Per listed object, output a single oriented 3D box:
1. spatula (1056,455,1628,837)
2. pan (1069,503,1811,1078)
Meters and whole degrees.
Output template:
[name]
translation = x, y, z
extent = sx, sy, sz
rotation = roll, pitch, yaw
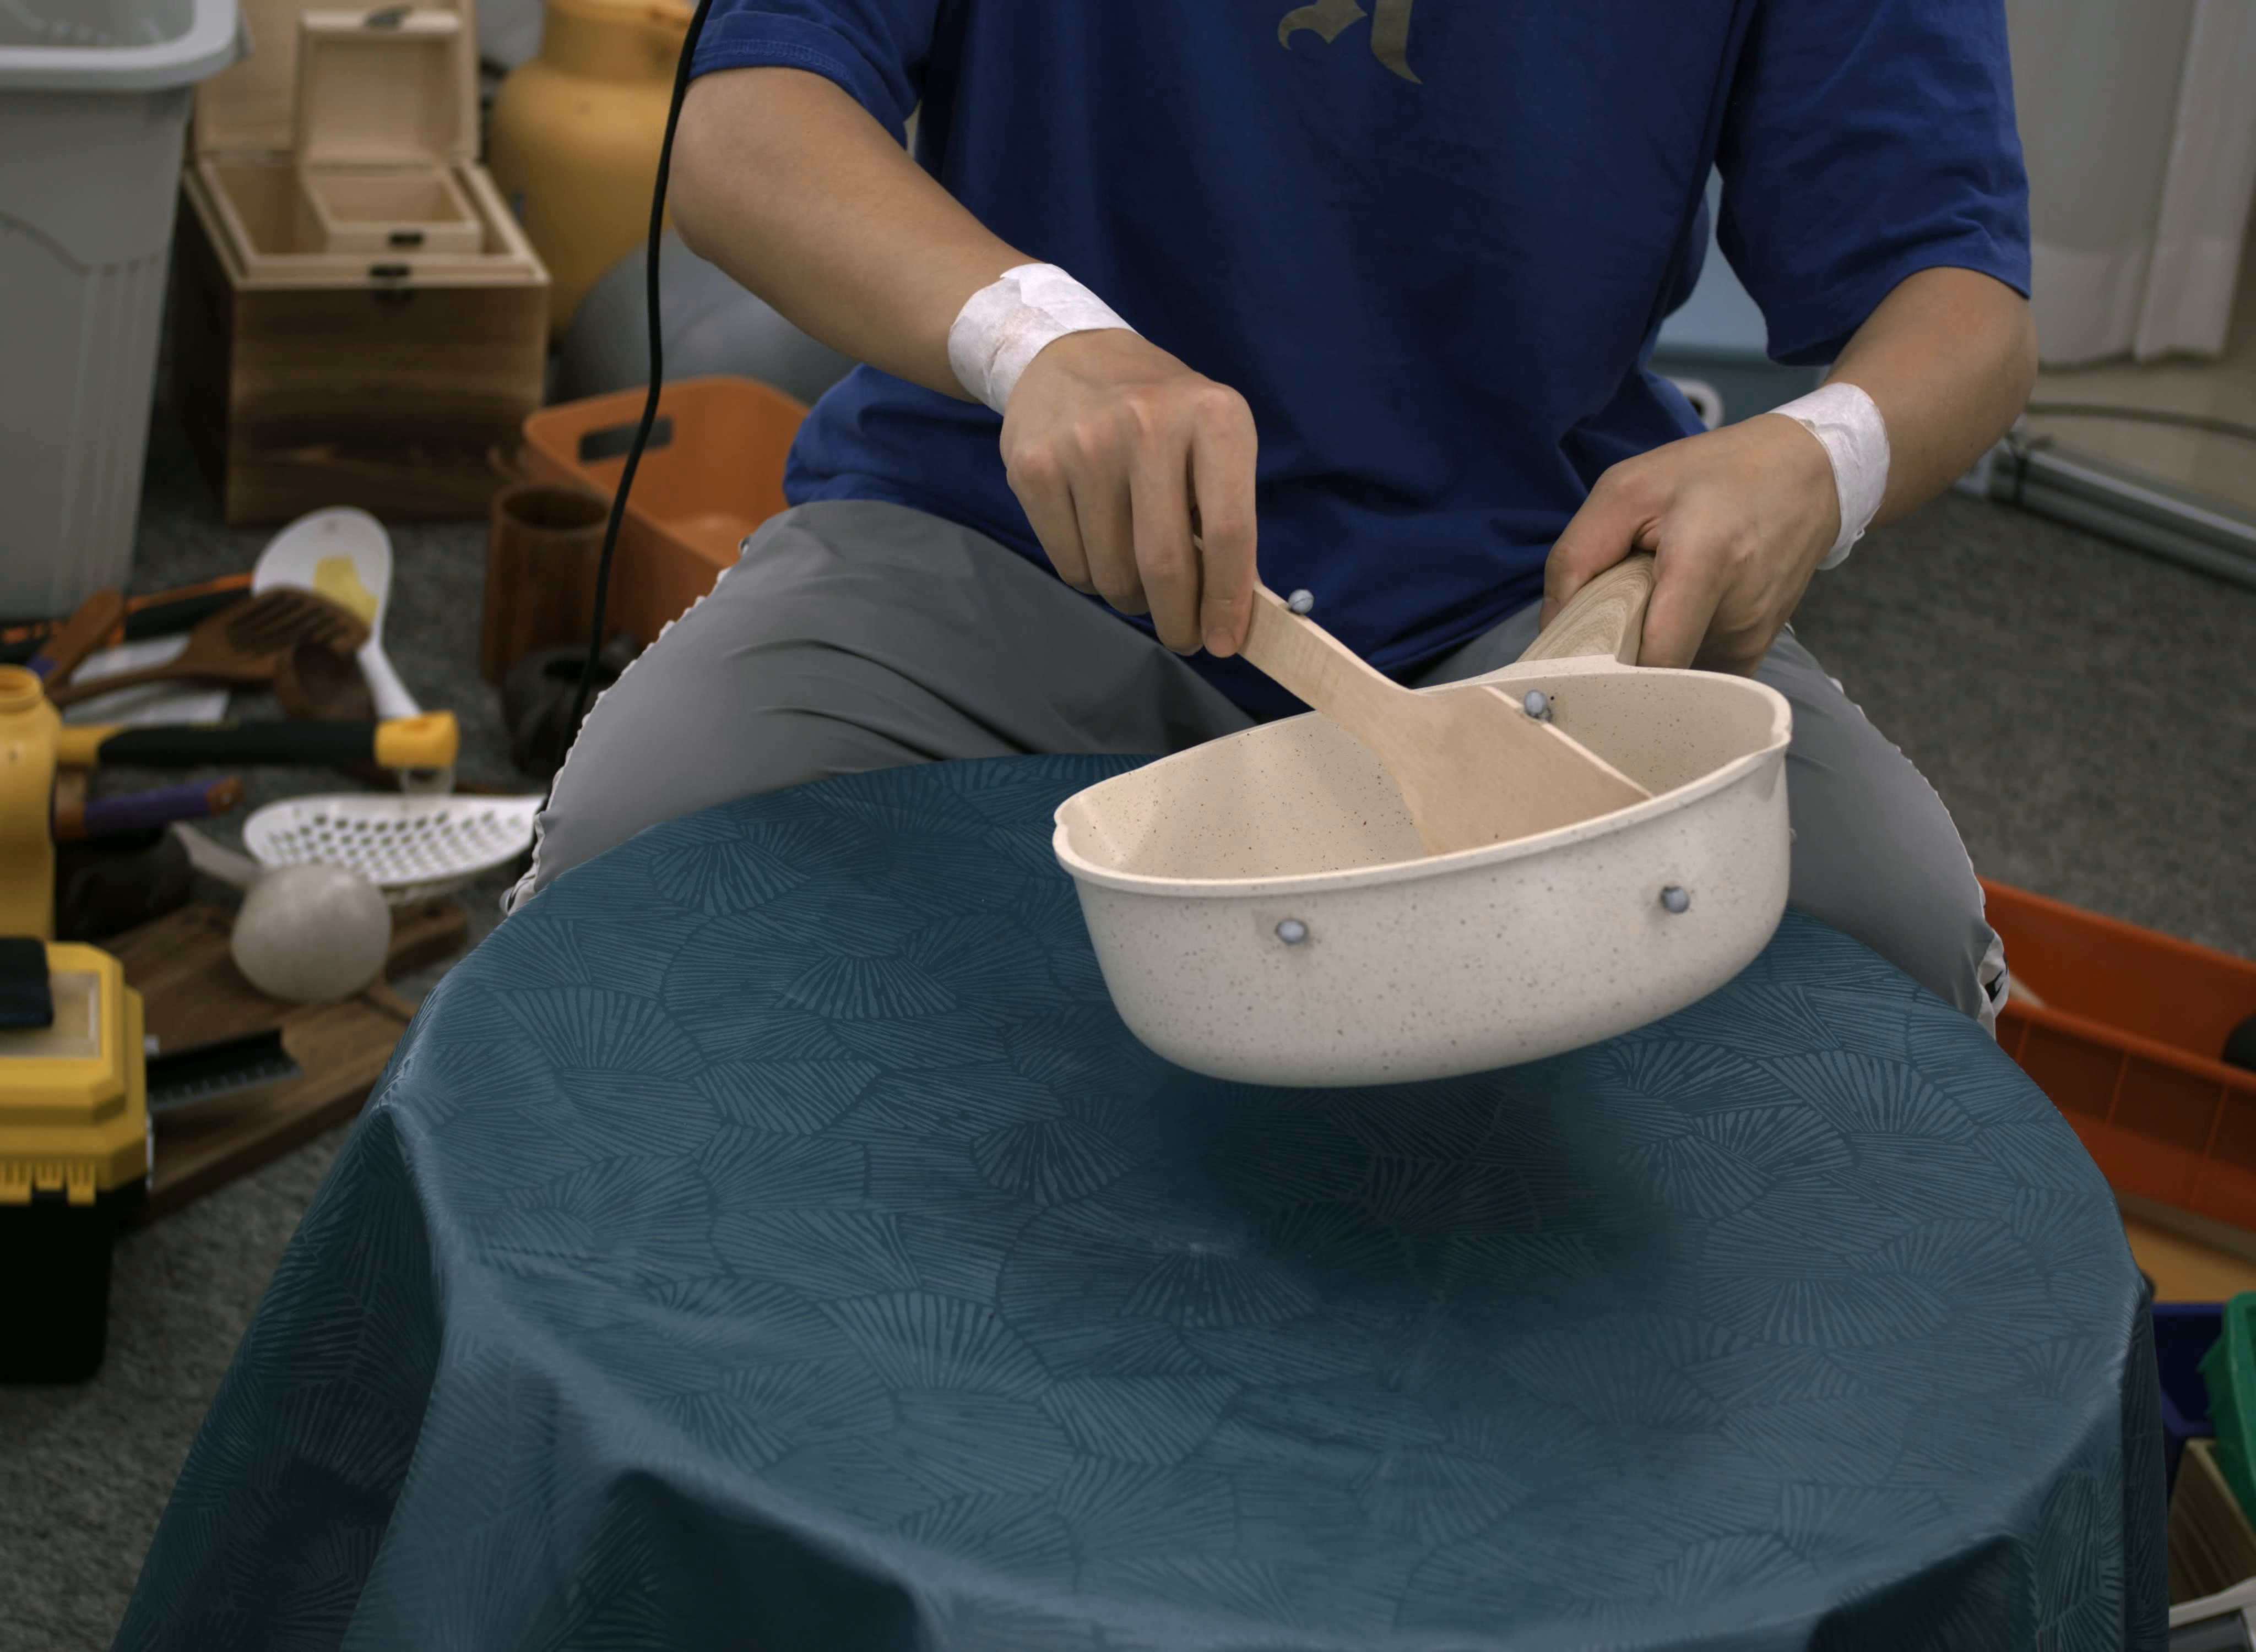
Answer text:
[spatula]
translation = 0.069, -0.053, 1.855
extent = 0.010, 0.072, 0.295
rotation = -11, 38, -42
[pan]
translation = 0.144, -0.016, 1.869
extent = 0.264, 0.102, 0.434
rotation = -7, 13, 25
